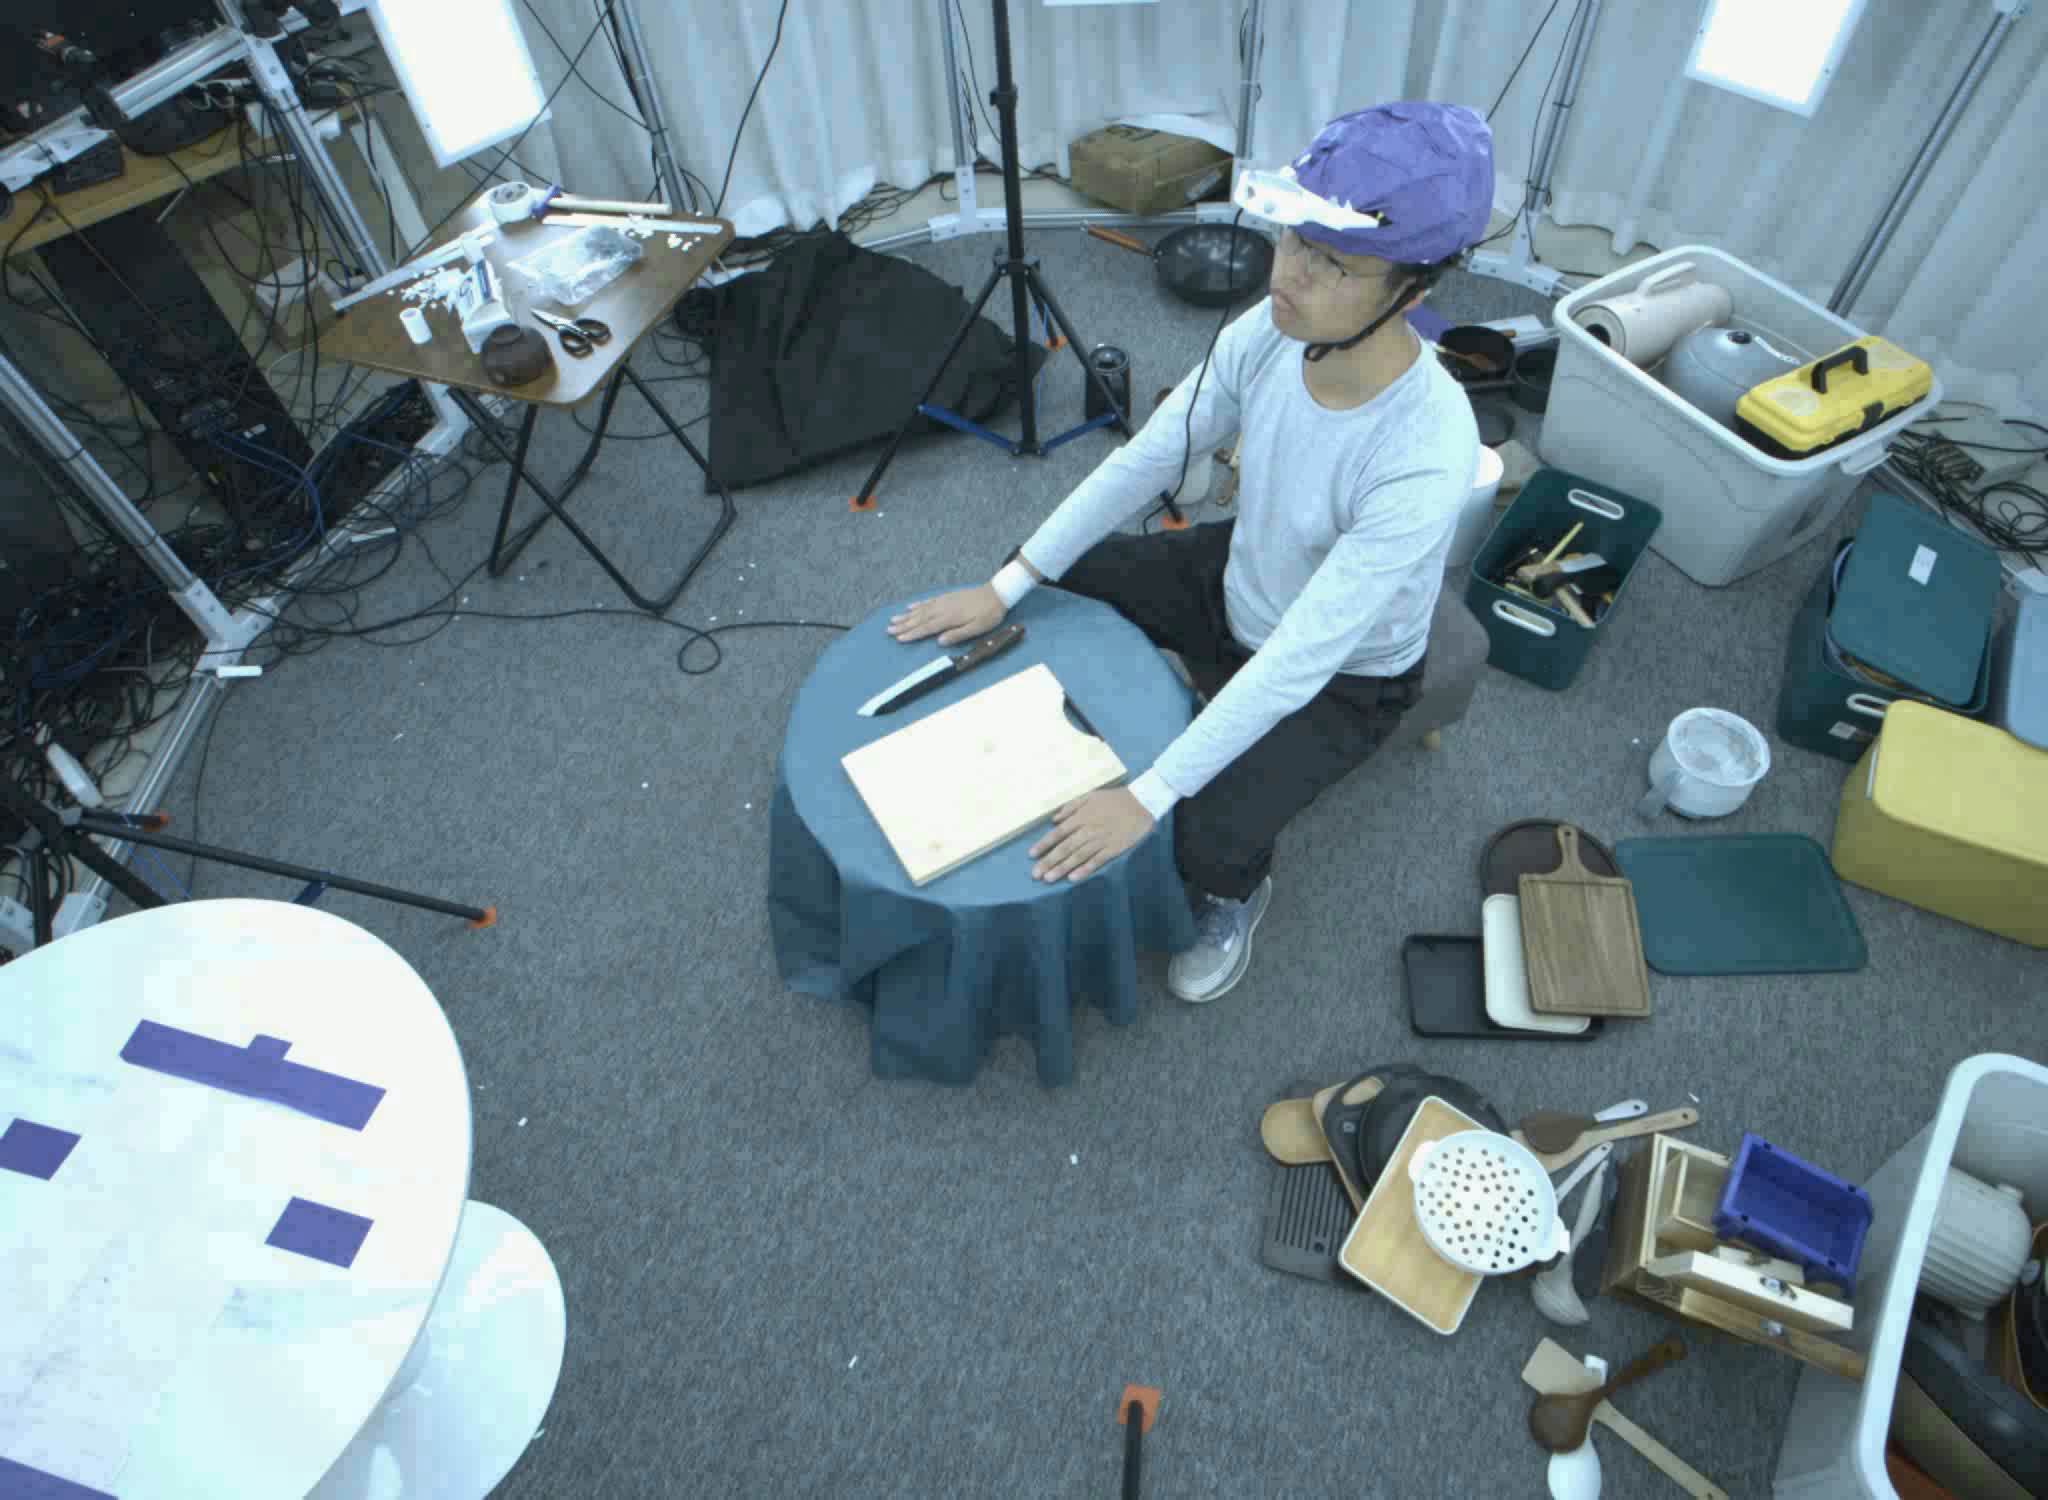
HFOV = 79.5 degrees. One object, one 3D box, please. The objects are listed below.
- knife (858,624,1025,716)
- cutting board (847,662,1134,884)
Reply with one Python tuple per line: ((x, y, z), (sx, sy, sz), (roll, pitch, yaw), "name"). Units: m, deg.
((-0.126, -0.121, 1.876), (0.291, 0.020, 0.049), (-29, 54, -15), "knife")
((-0.054, 0.024, 1.769), (0.351, 0.024, 0.246), (-27, 58, -17), "cutting board")
